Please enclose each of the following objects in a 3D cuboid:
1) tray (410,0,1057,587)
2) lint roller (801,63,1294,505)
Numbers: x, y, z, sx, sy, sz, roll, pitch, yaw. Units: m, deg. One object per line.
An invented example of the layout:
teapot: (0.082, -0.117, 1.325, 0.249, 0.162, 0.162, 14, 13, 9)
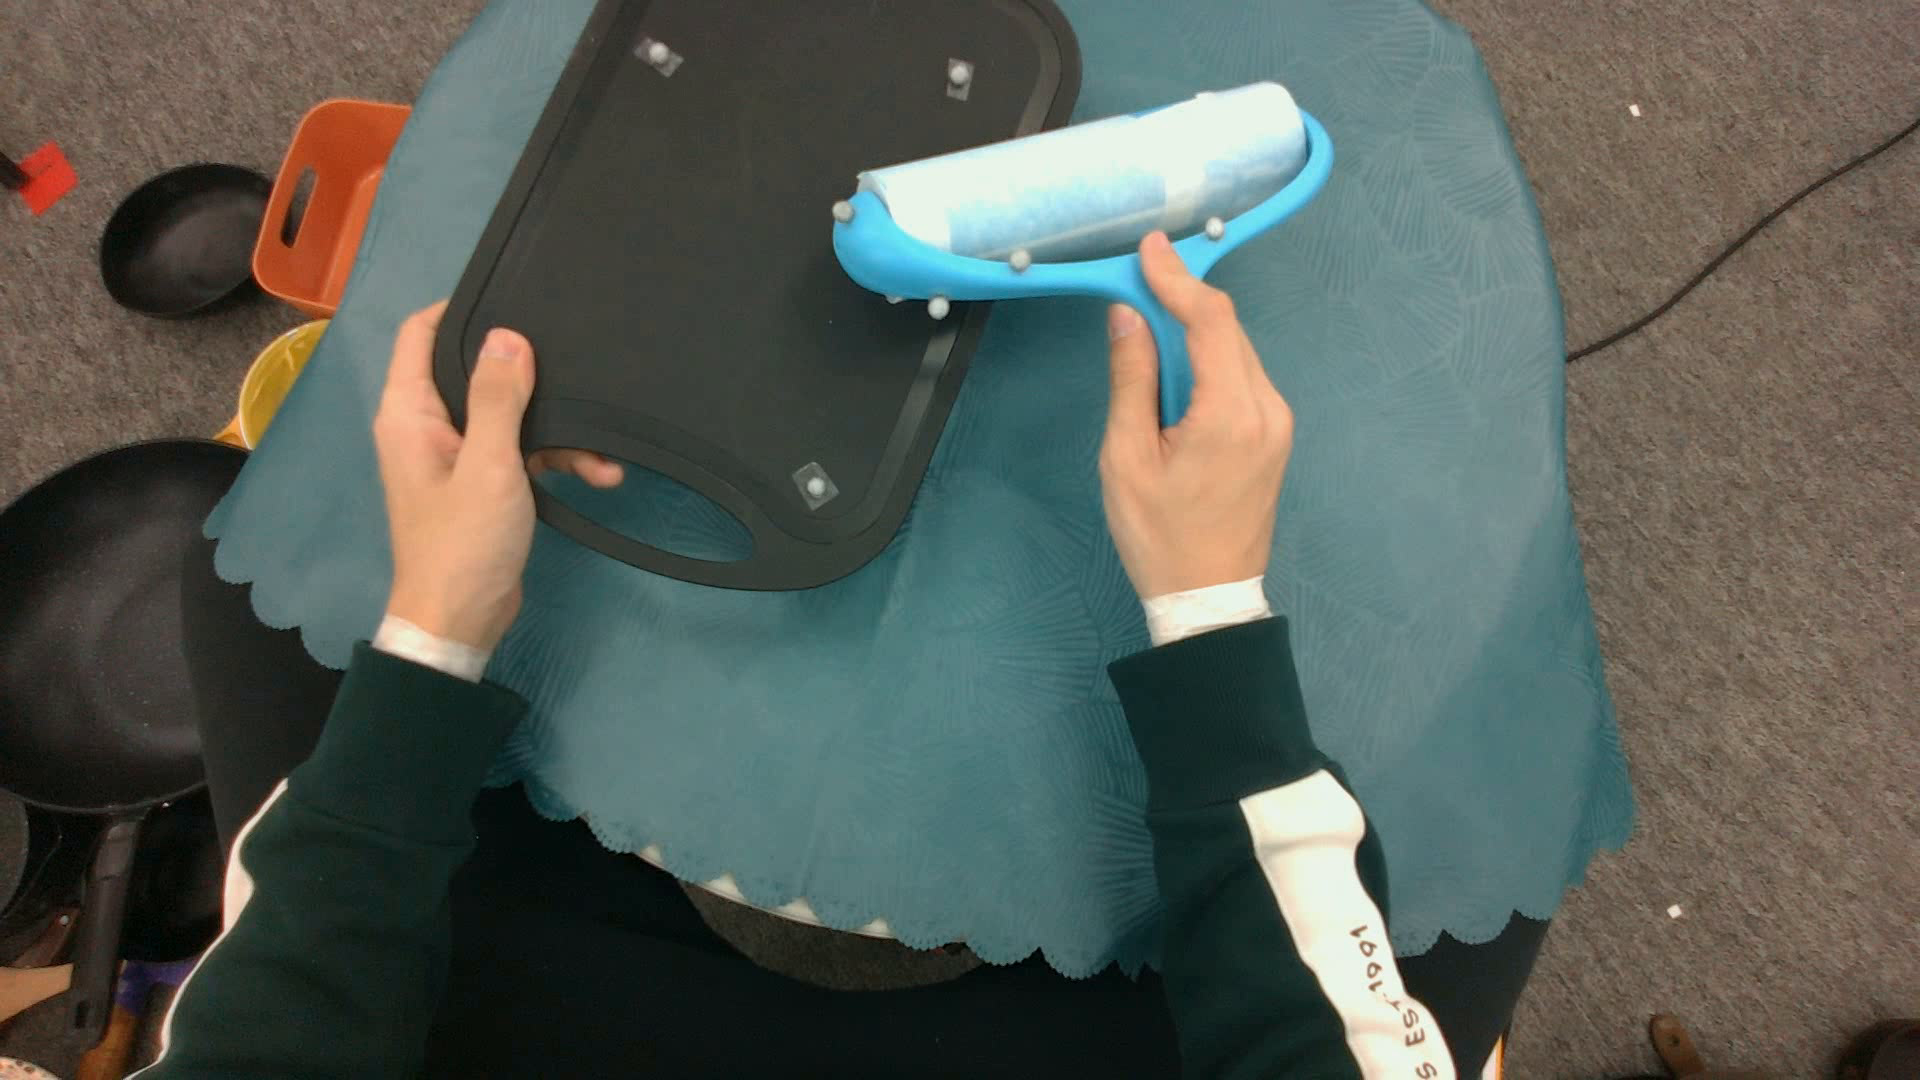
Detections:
tray: (-0.093, -0.141, 0.600, 0.211, 0.010, 0.326, 22, 78, -8)
lint roller: (0.065, -0.106, 0.586, 0.229, 0.067, 0.180, -22, 80, -21)
